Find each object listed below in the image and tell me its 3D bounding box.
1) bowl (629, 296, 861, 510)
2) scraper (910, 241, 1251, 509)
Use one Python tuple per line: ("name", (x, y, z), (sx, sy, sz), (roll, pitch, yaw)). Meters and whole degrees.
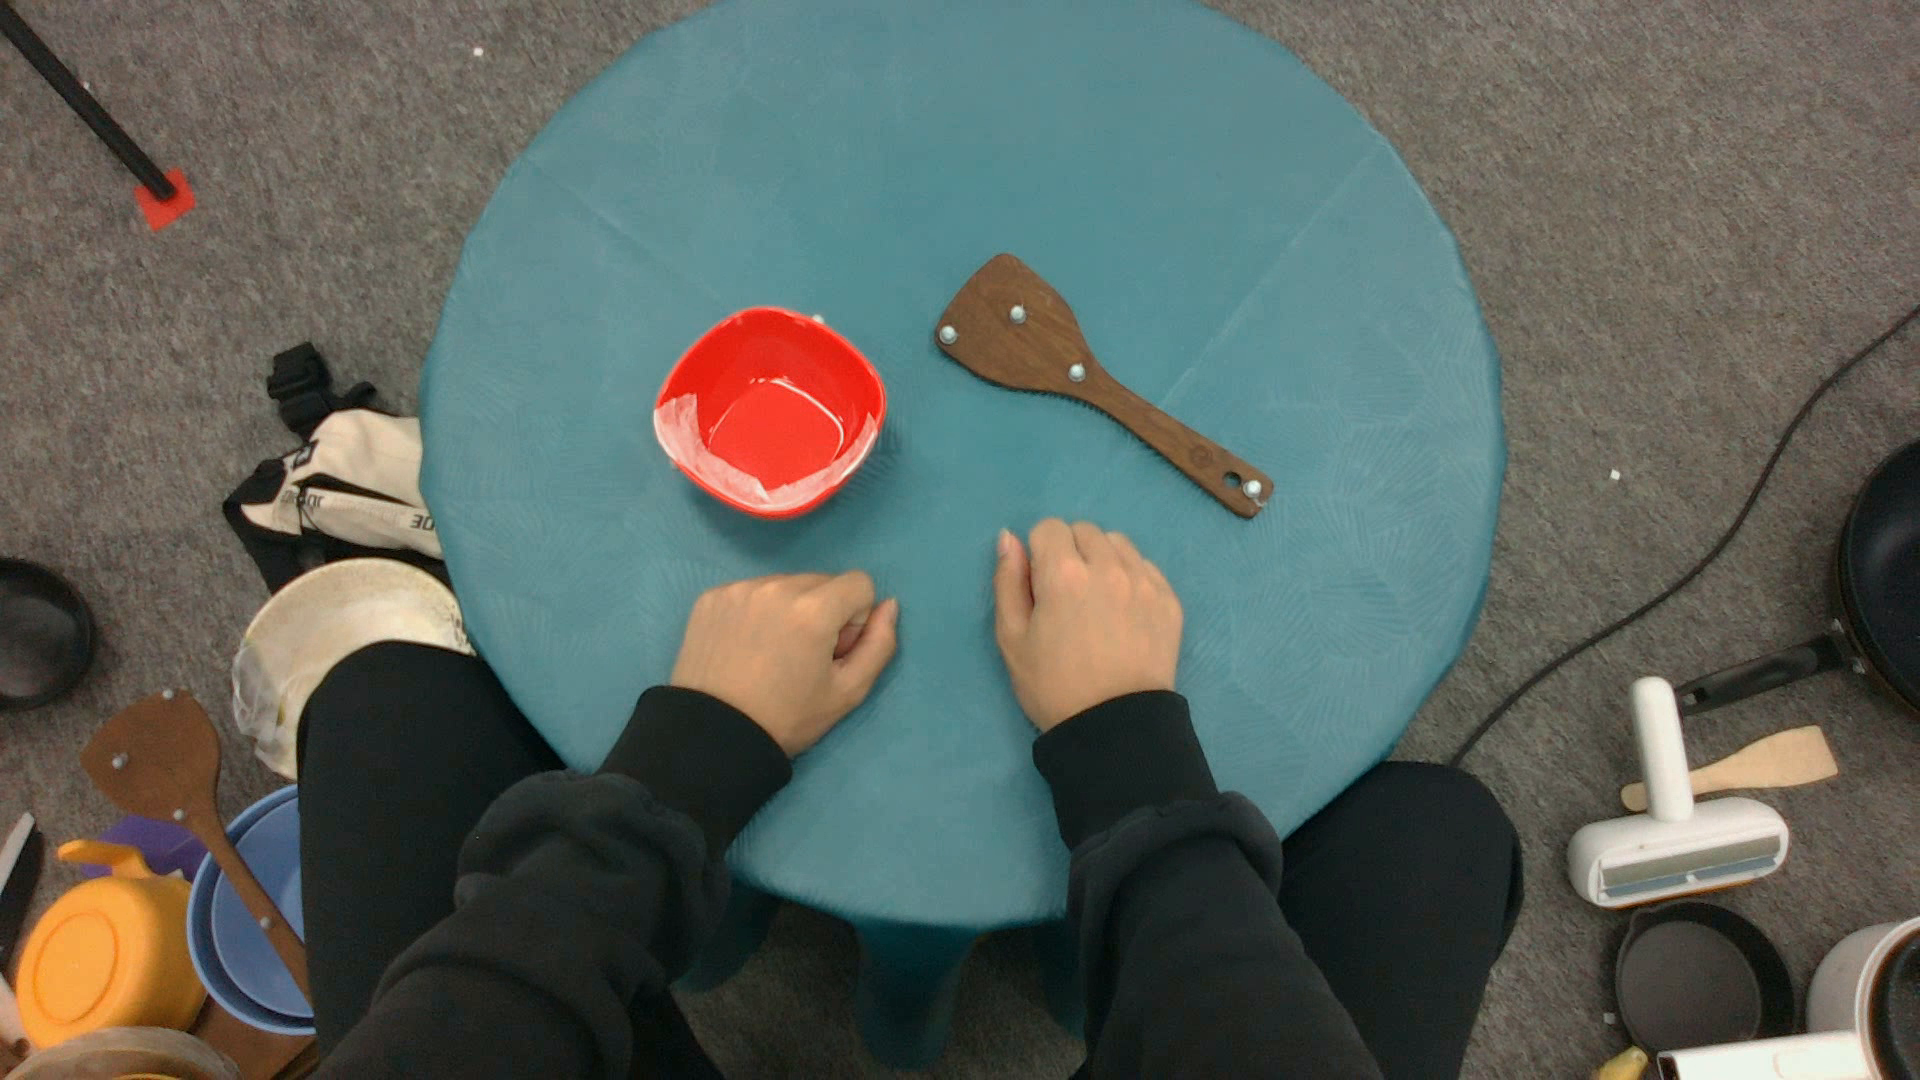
("bowl", (-0.111, -0.065, 0.728), (0.119, 0.051, 0.119), (2, 70, -4))
("scraper", (0.071, -0.086, 0.769), (0.211, 0.011, 0.076), (36, 73, 8))
